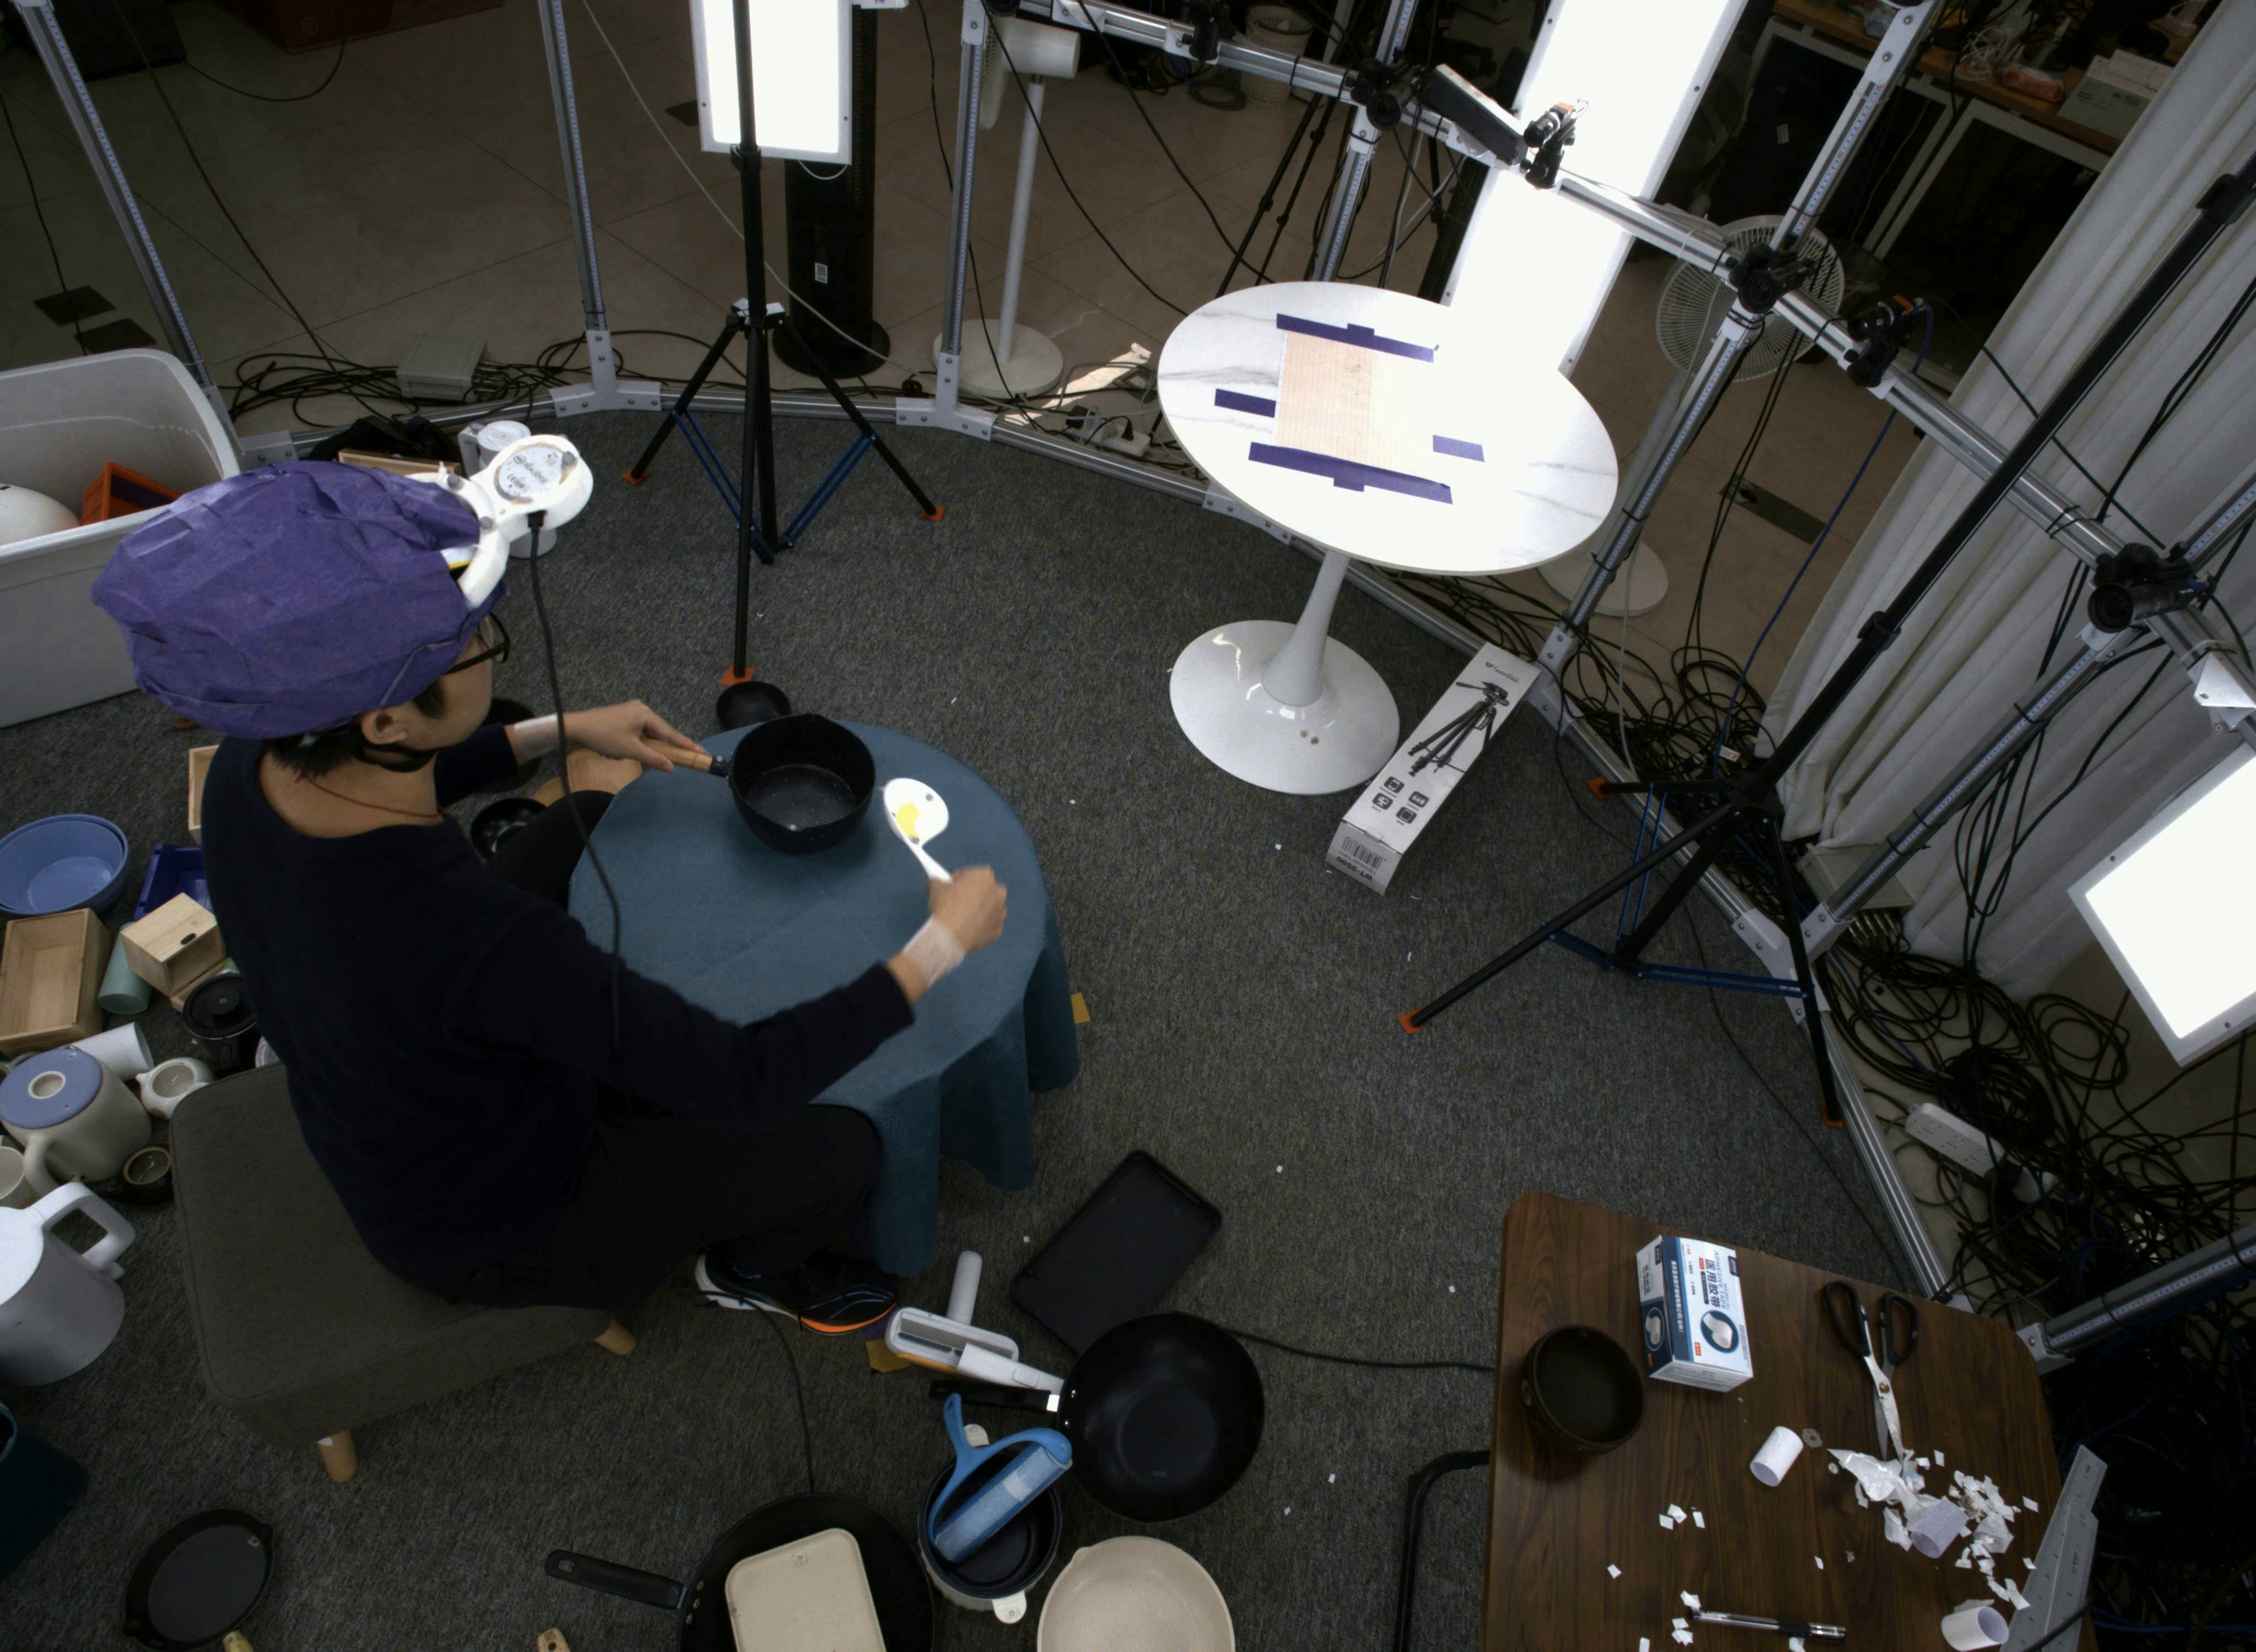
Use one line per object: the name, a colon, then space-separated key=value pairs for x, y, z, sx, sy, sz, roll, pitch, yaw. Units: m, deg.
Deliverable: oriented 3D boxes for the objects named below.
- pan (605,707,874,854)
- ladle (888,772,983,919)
pan: x=-0.502 y=-0.067 z=1.662 sx=0.344 sy=0.110 sz=0.203 roll=8 pitch=53 yaw=-15
ladle: x=-0.219 y=0.019 z=1.521 sx=0.093 sy=0.070 sz=0.283 roll=31 pitch=5 yaw=-33
